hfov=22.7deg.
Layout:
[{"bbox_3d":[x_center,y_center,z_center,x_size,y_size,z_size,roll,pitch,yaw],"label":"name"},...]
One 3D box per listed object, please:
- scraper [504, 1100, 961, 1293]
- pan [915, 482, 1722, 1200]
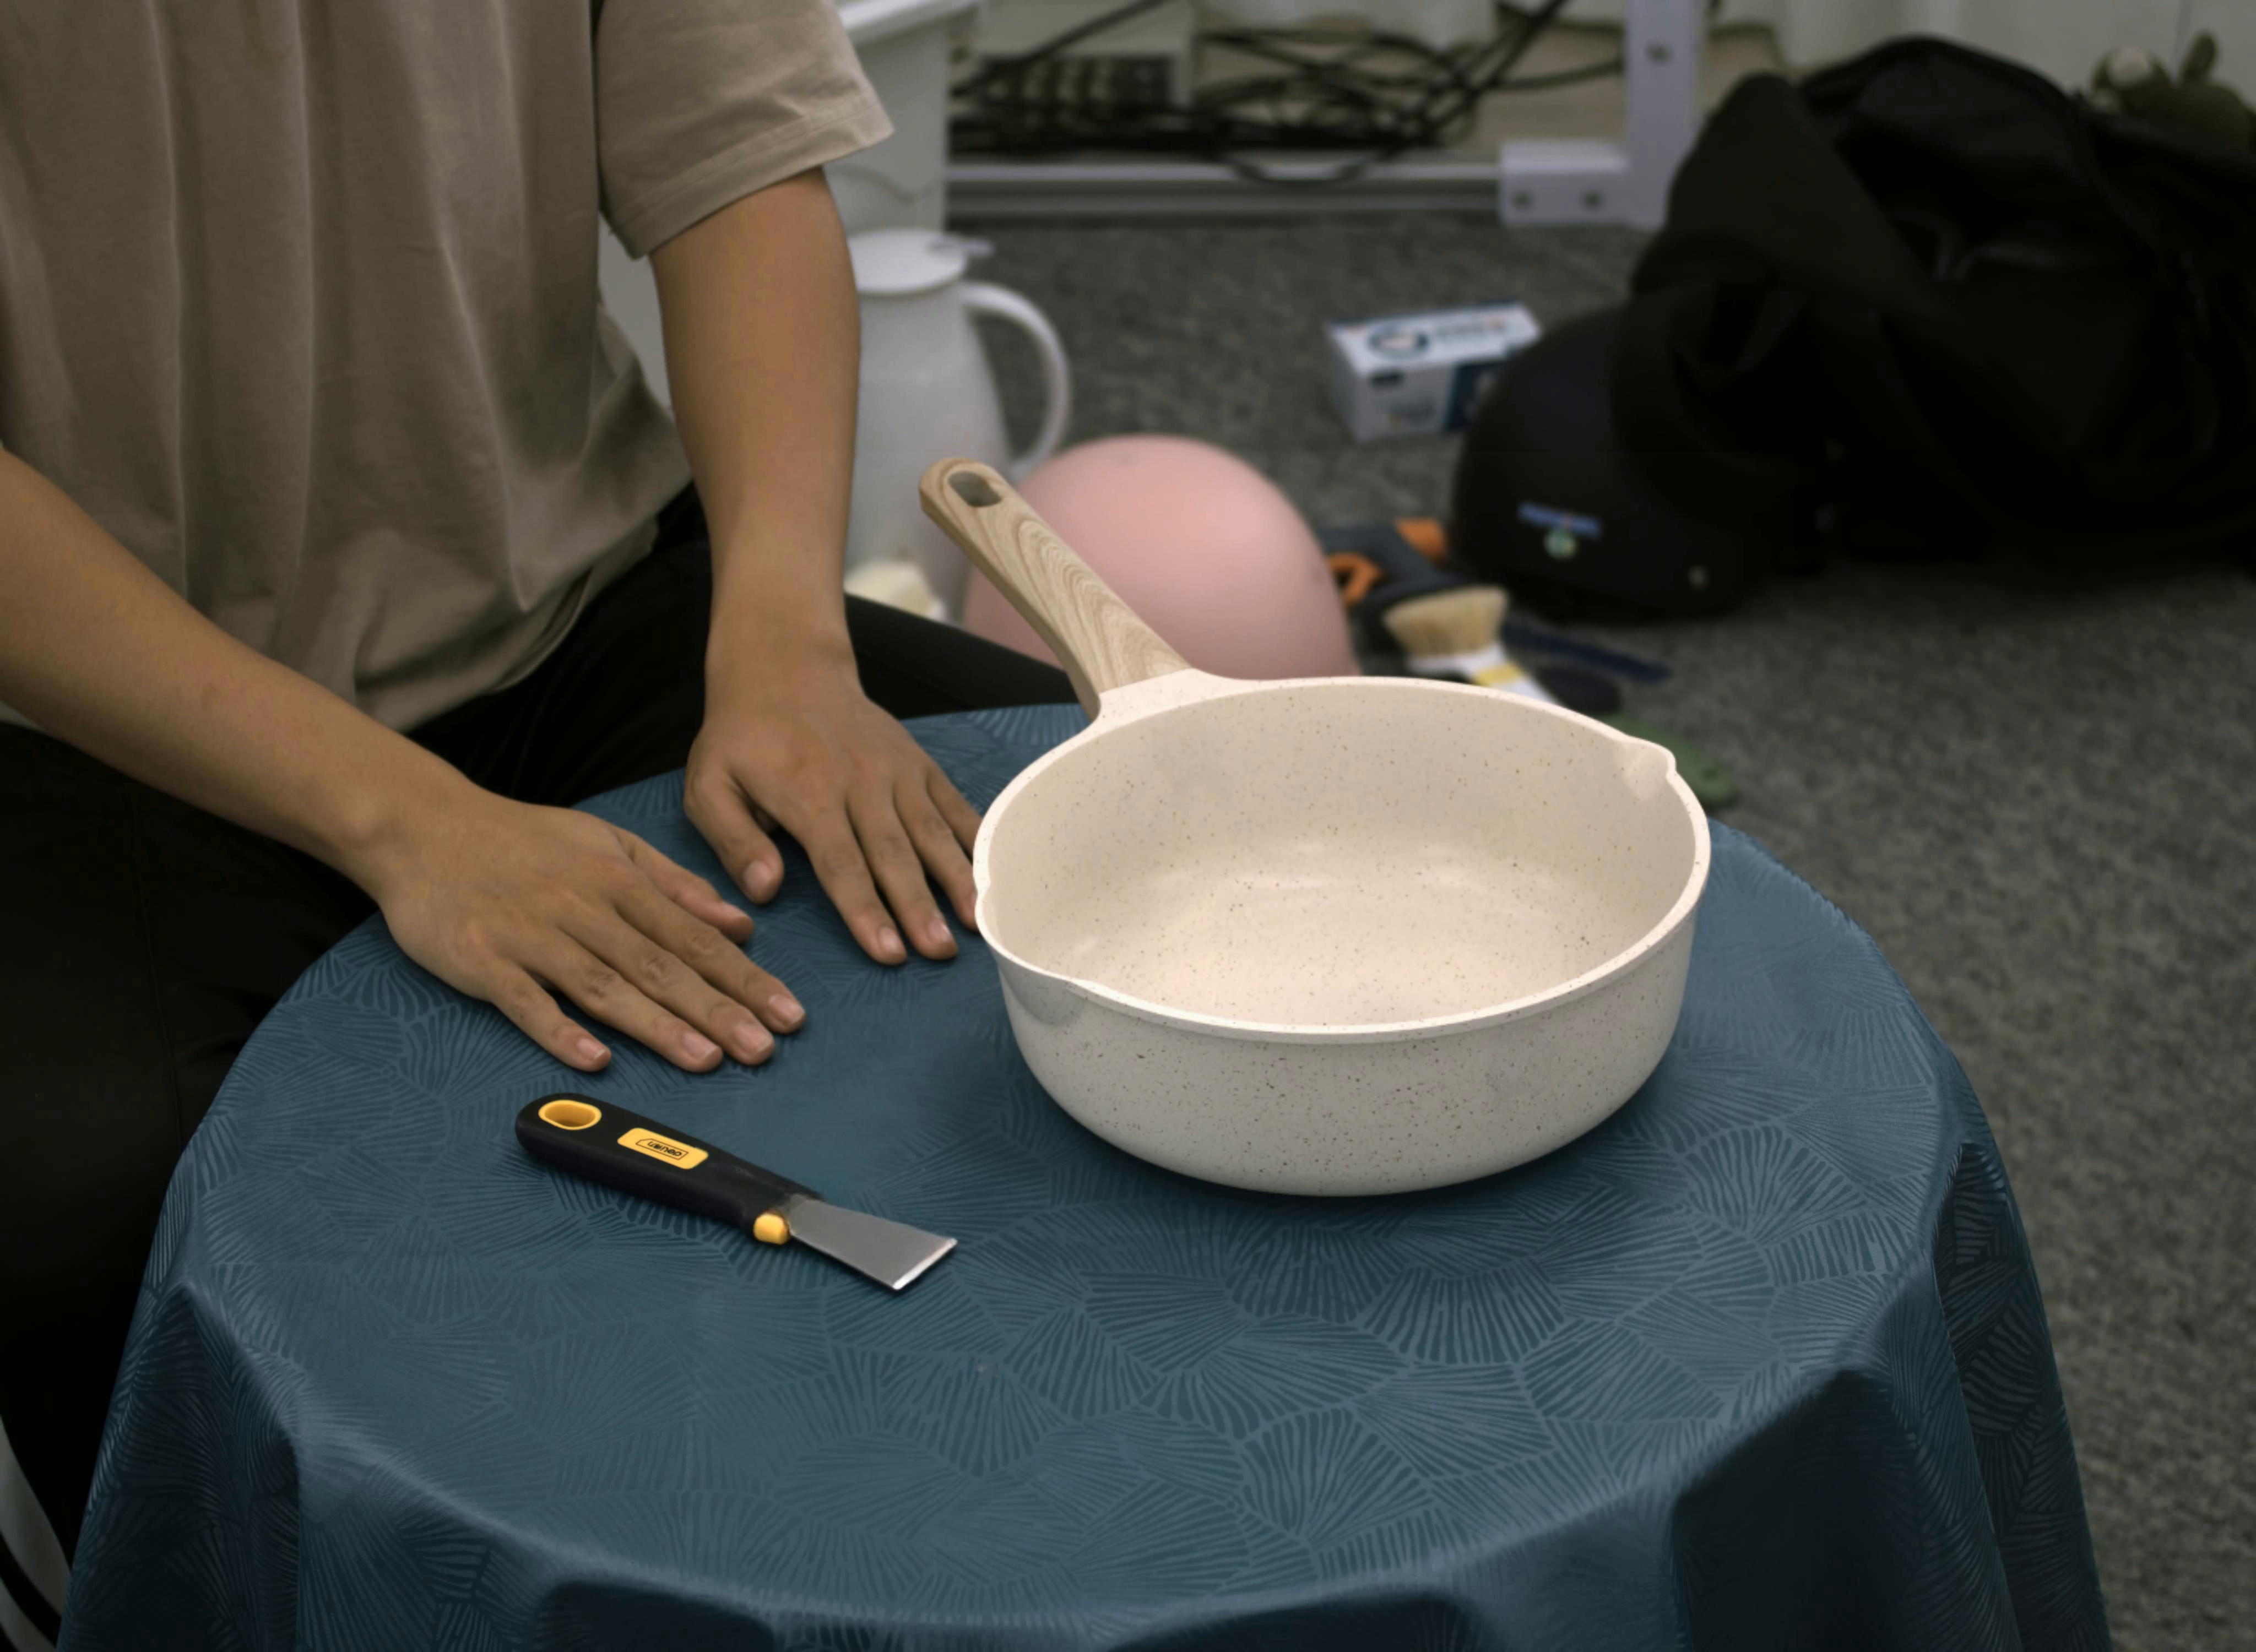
[{"bbox_3d":[-0.135,0.122,1.857,0.170,0.015,0.039,16,37,27],"label":"scraper"},{"bbox_3d":[0.036,-0.002,1.995,0.265,0.101,0.437,-18,31,-22],"label":"pan"}]
